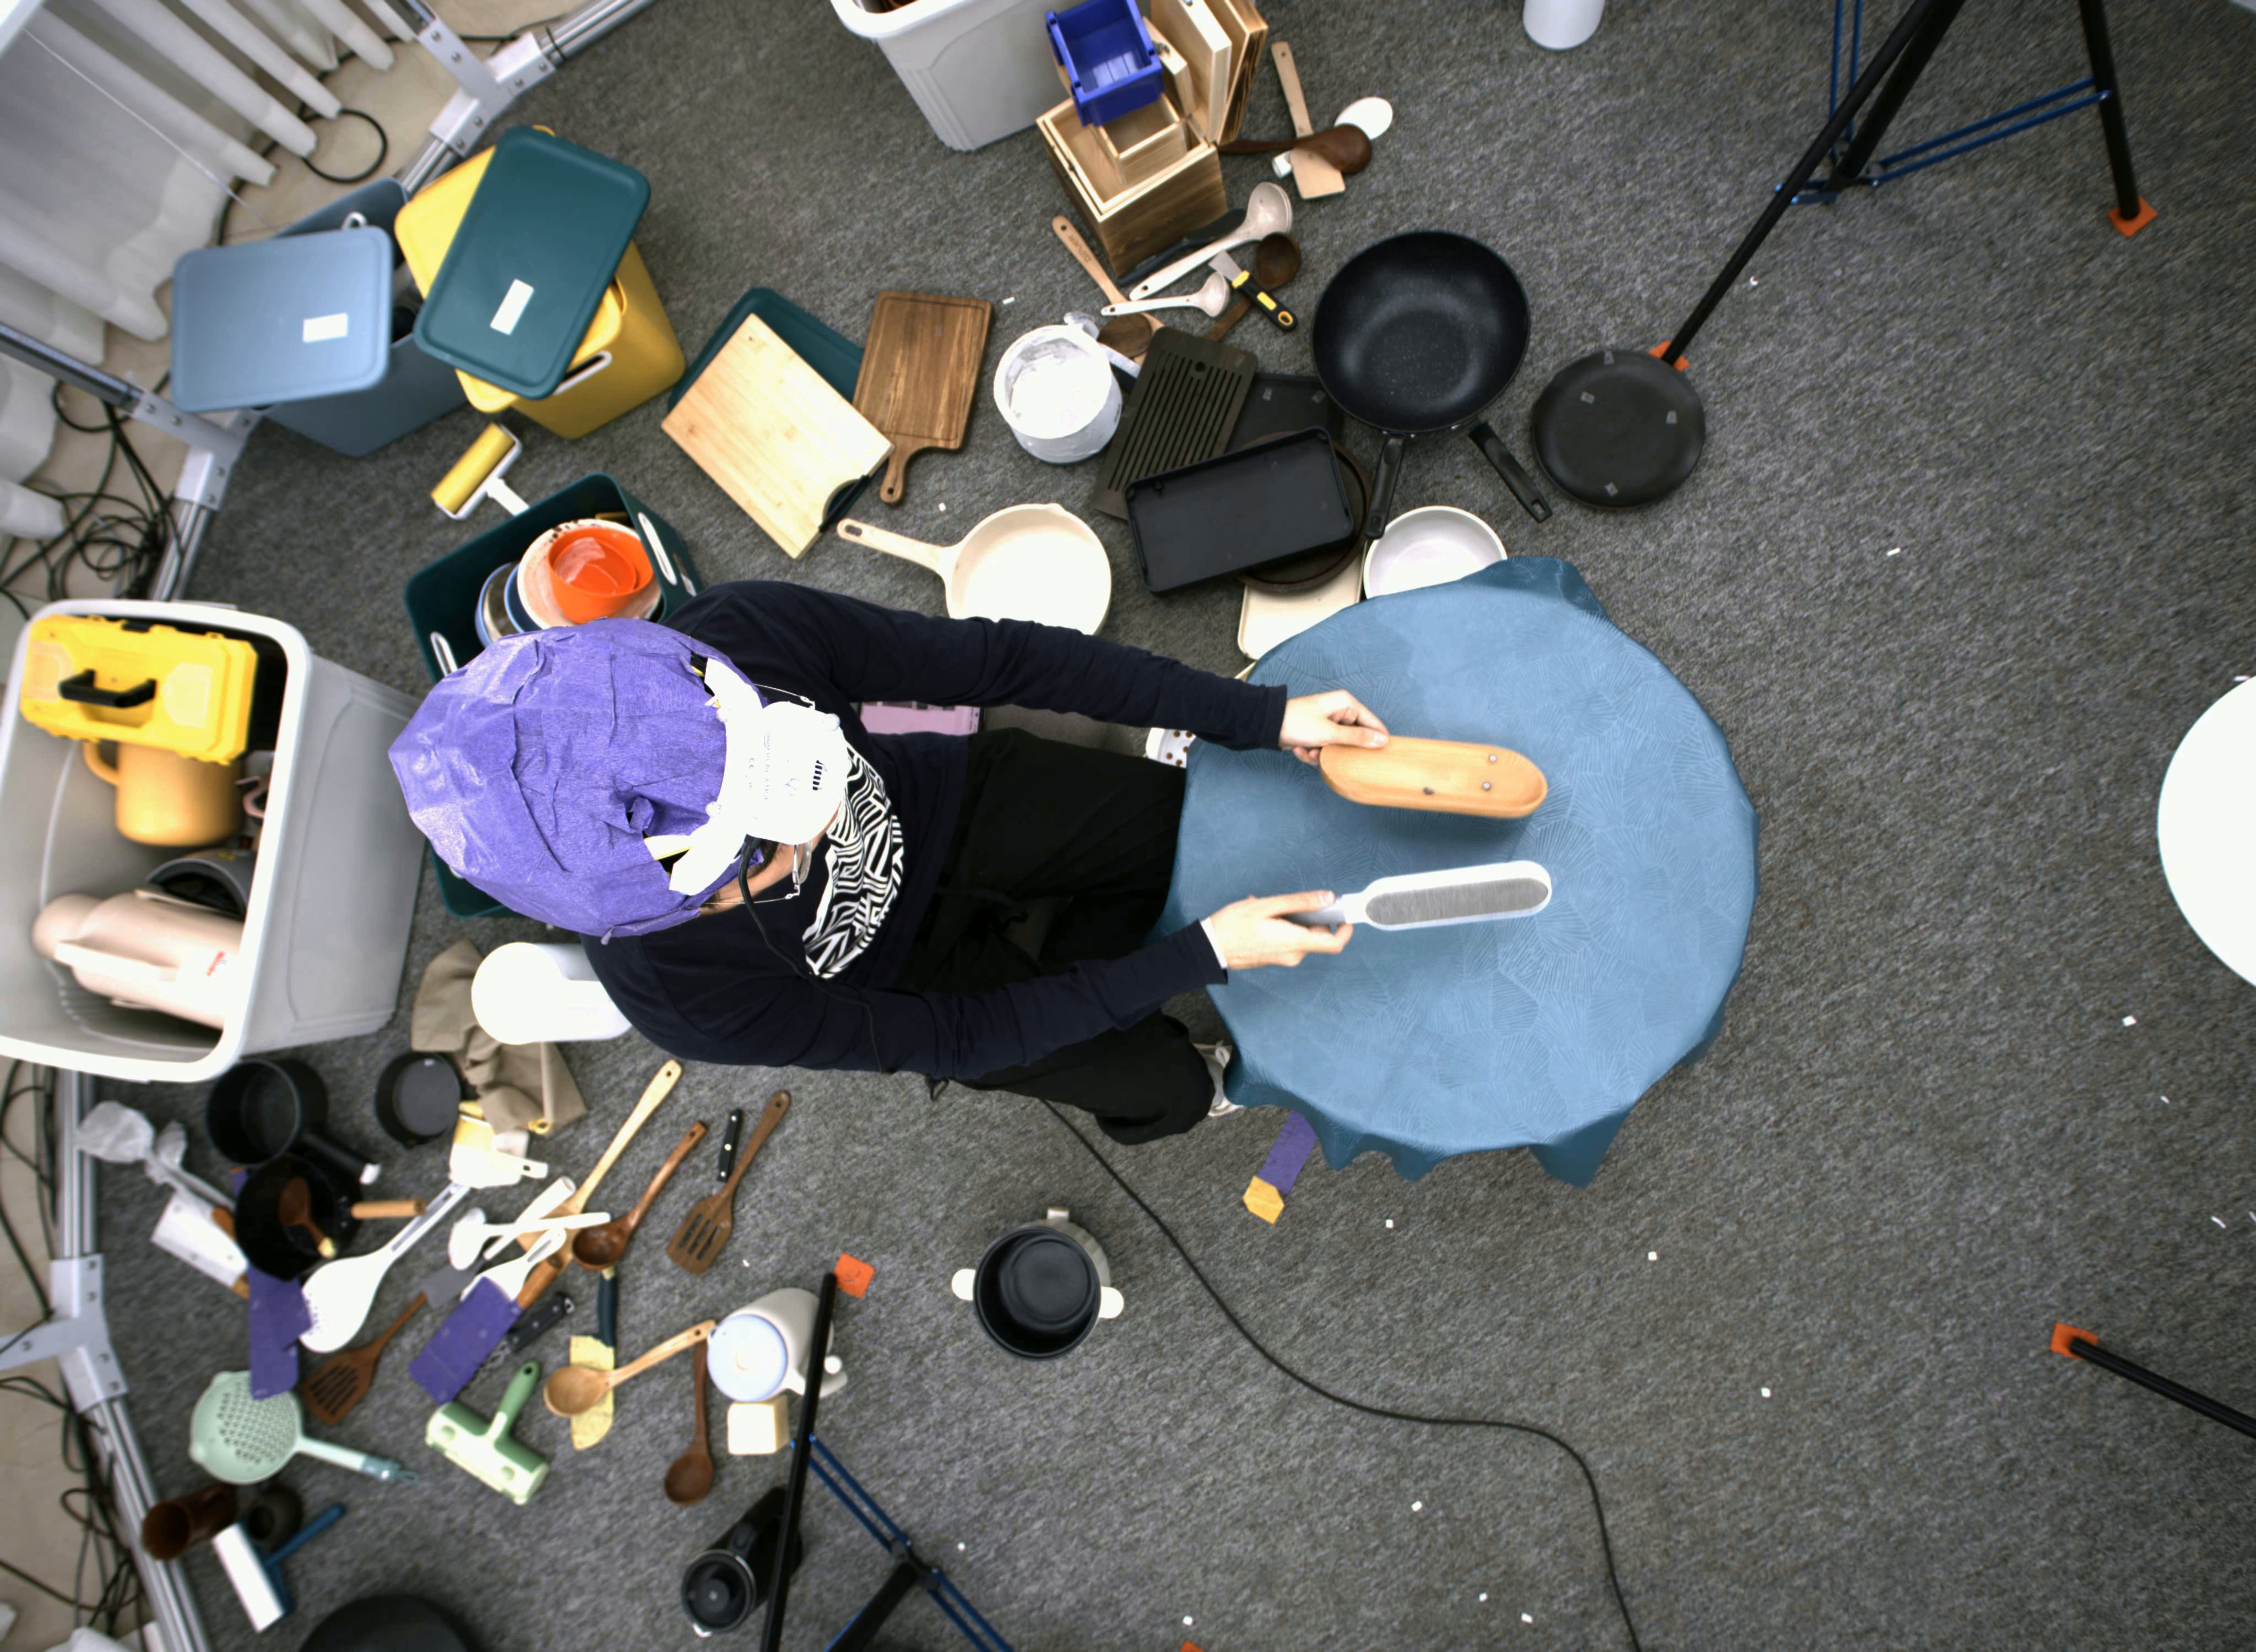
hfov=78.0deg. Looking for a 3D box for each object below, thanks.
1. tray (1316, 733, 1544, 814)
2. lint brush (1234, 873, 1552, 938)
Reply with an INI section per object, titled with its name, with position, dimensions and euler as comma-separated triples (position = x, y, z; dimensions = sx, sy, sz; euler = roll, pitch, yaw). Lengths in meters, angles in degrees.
[tray]
position = 0.302, -0.054, 1.381
dimensions = 0.231, 0.099, 0.021
euler = 3, 132, -1
[lint brush]
position = 0.255, 0.080, 1.346
dimensions = 0.311, 0.061, 0.020
euler = -7, 44, 14
